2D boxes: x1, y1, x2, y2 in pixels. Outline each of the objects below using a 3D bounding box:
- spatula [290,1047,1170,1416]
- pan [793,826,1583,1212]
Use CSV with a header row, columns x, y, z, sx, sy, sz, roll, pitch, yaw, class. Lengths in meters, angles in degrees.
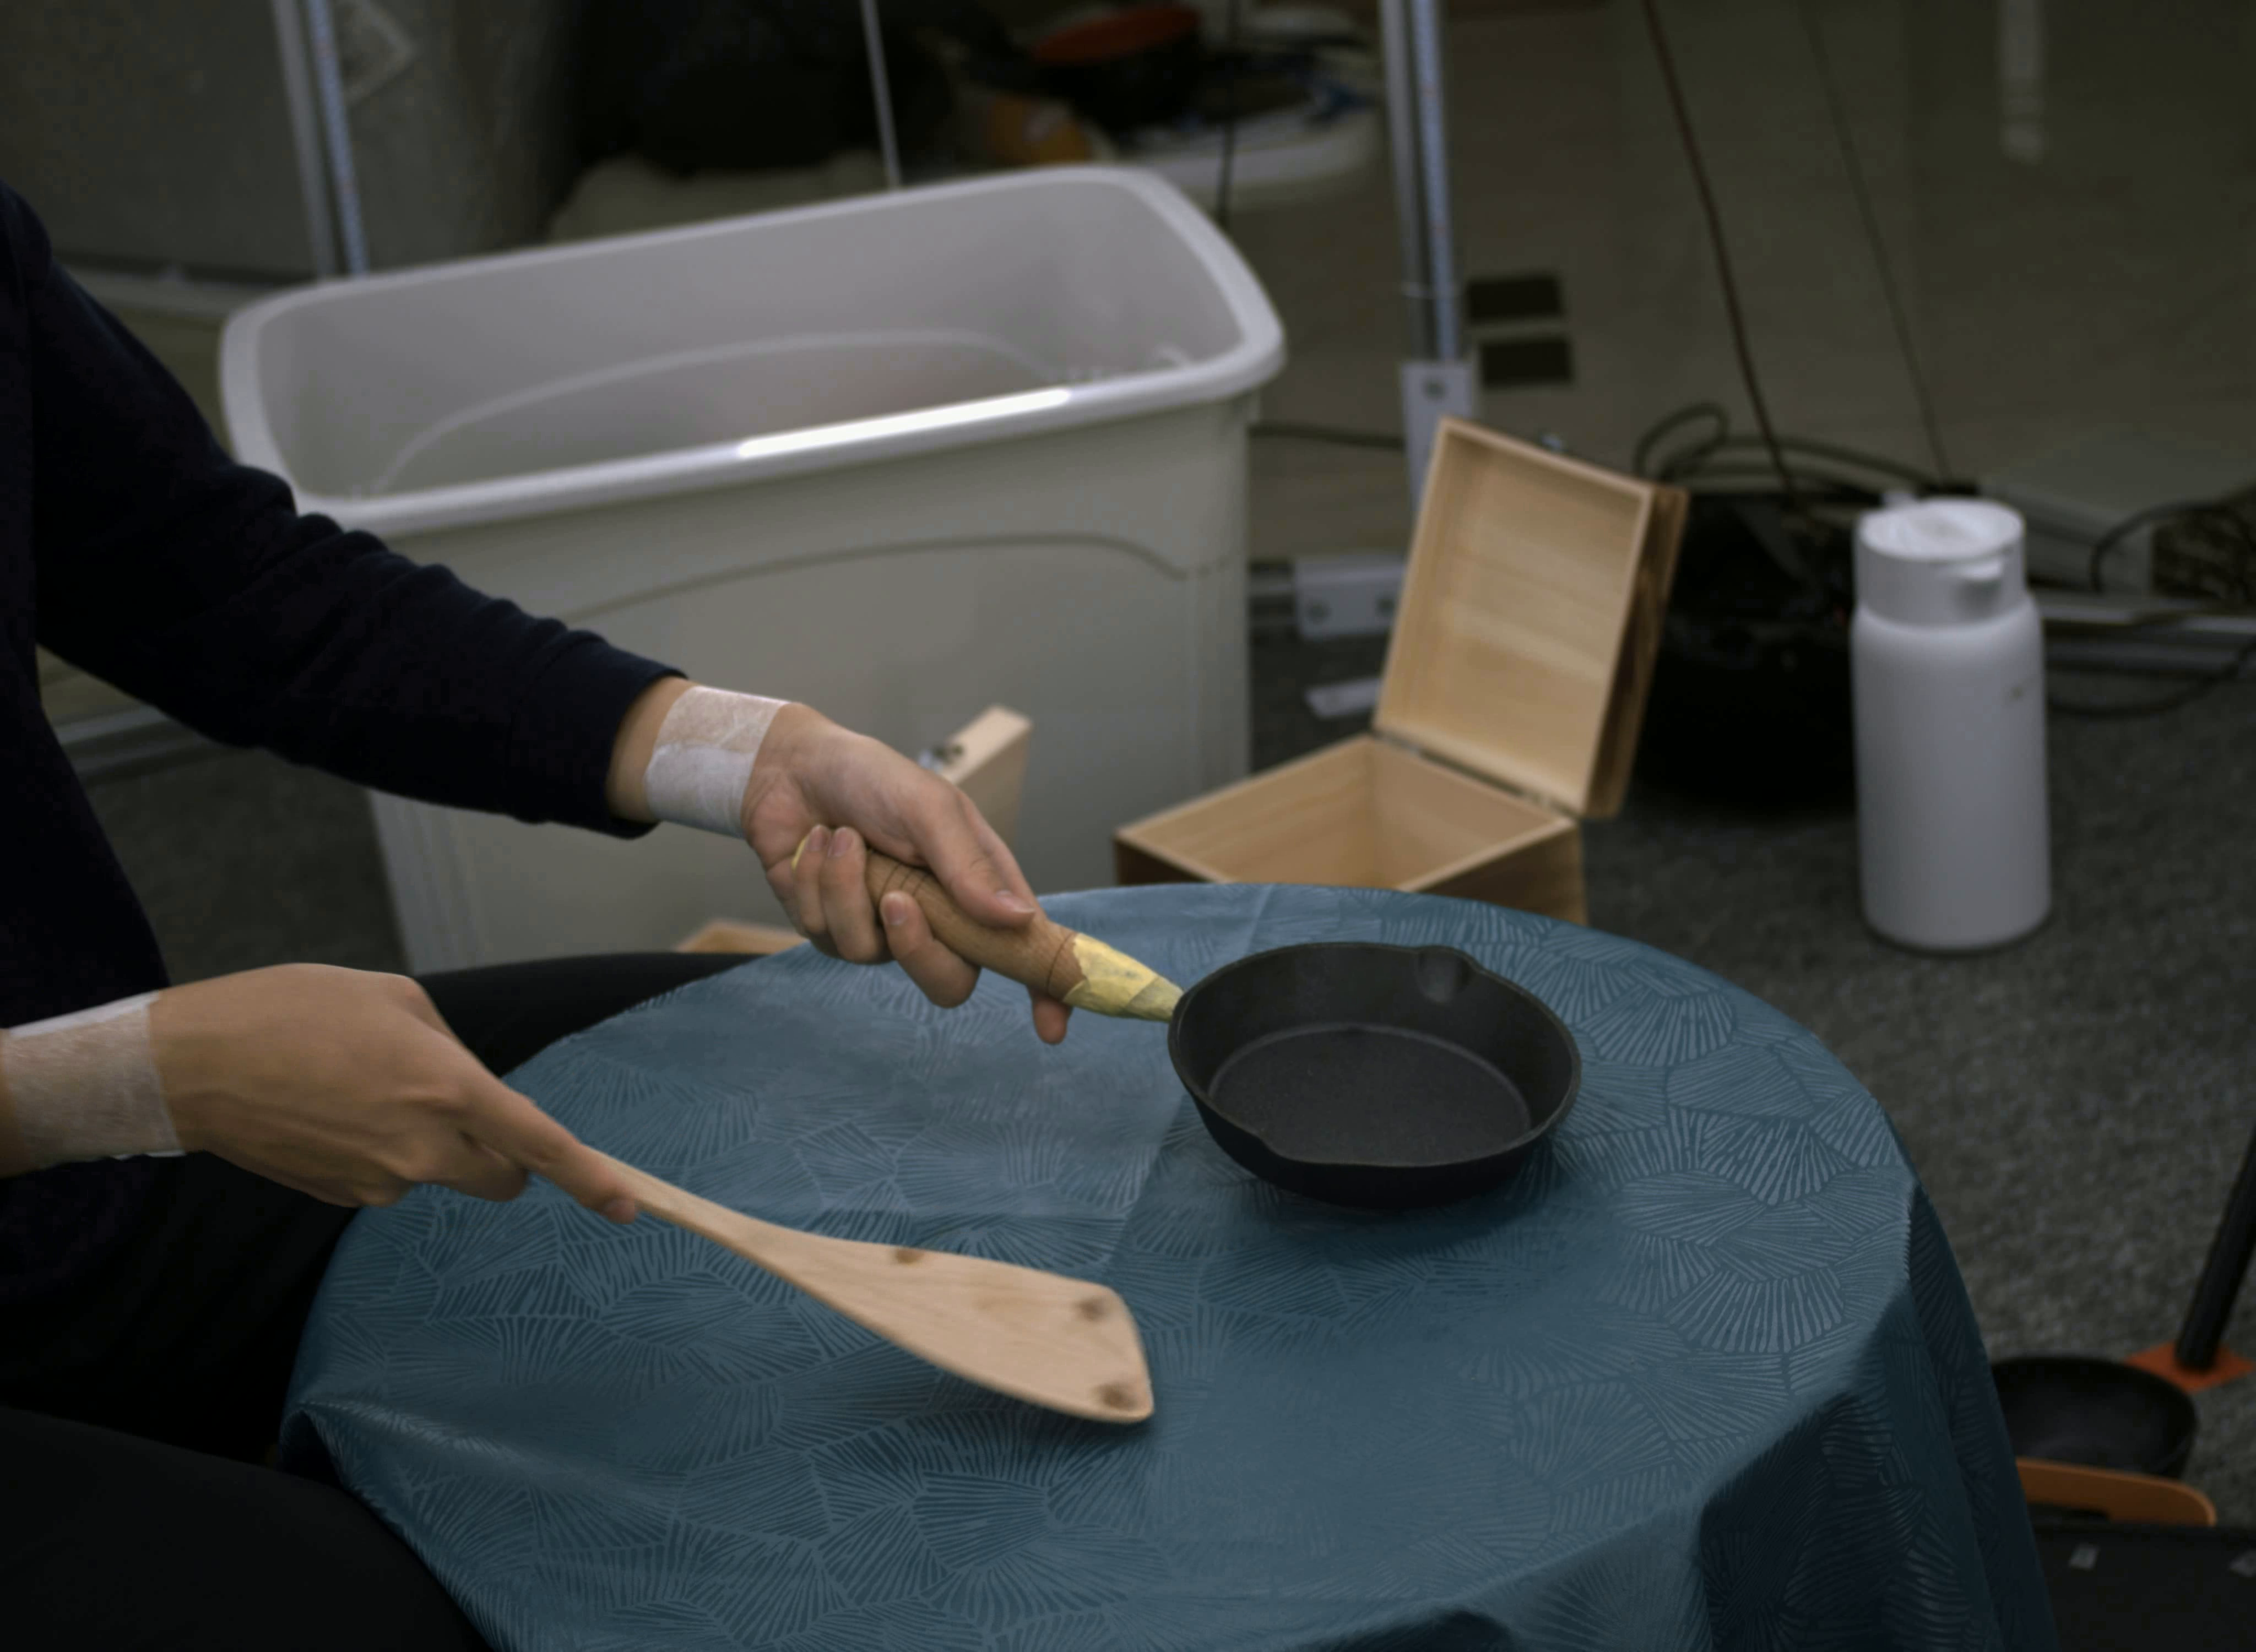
x,y,z,sx,sy,sz,roll,pitch,yaw,class
-0.137,0.135,1.986,0.328,0.017,0.078,21,27,-11,spatula
0.017,0.068,2.171,0.322,0.050,0.167,18,33,19,pan
